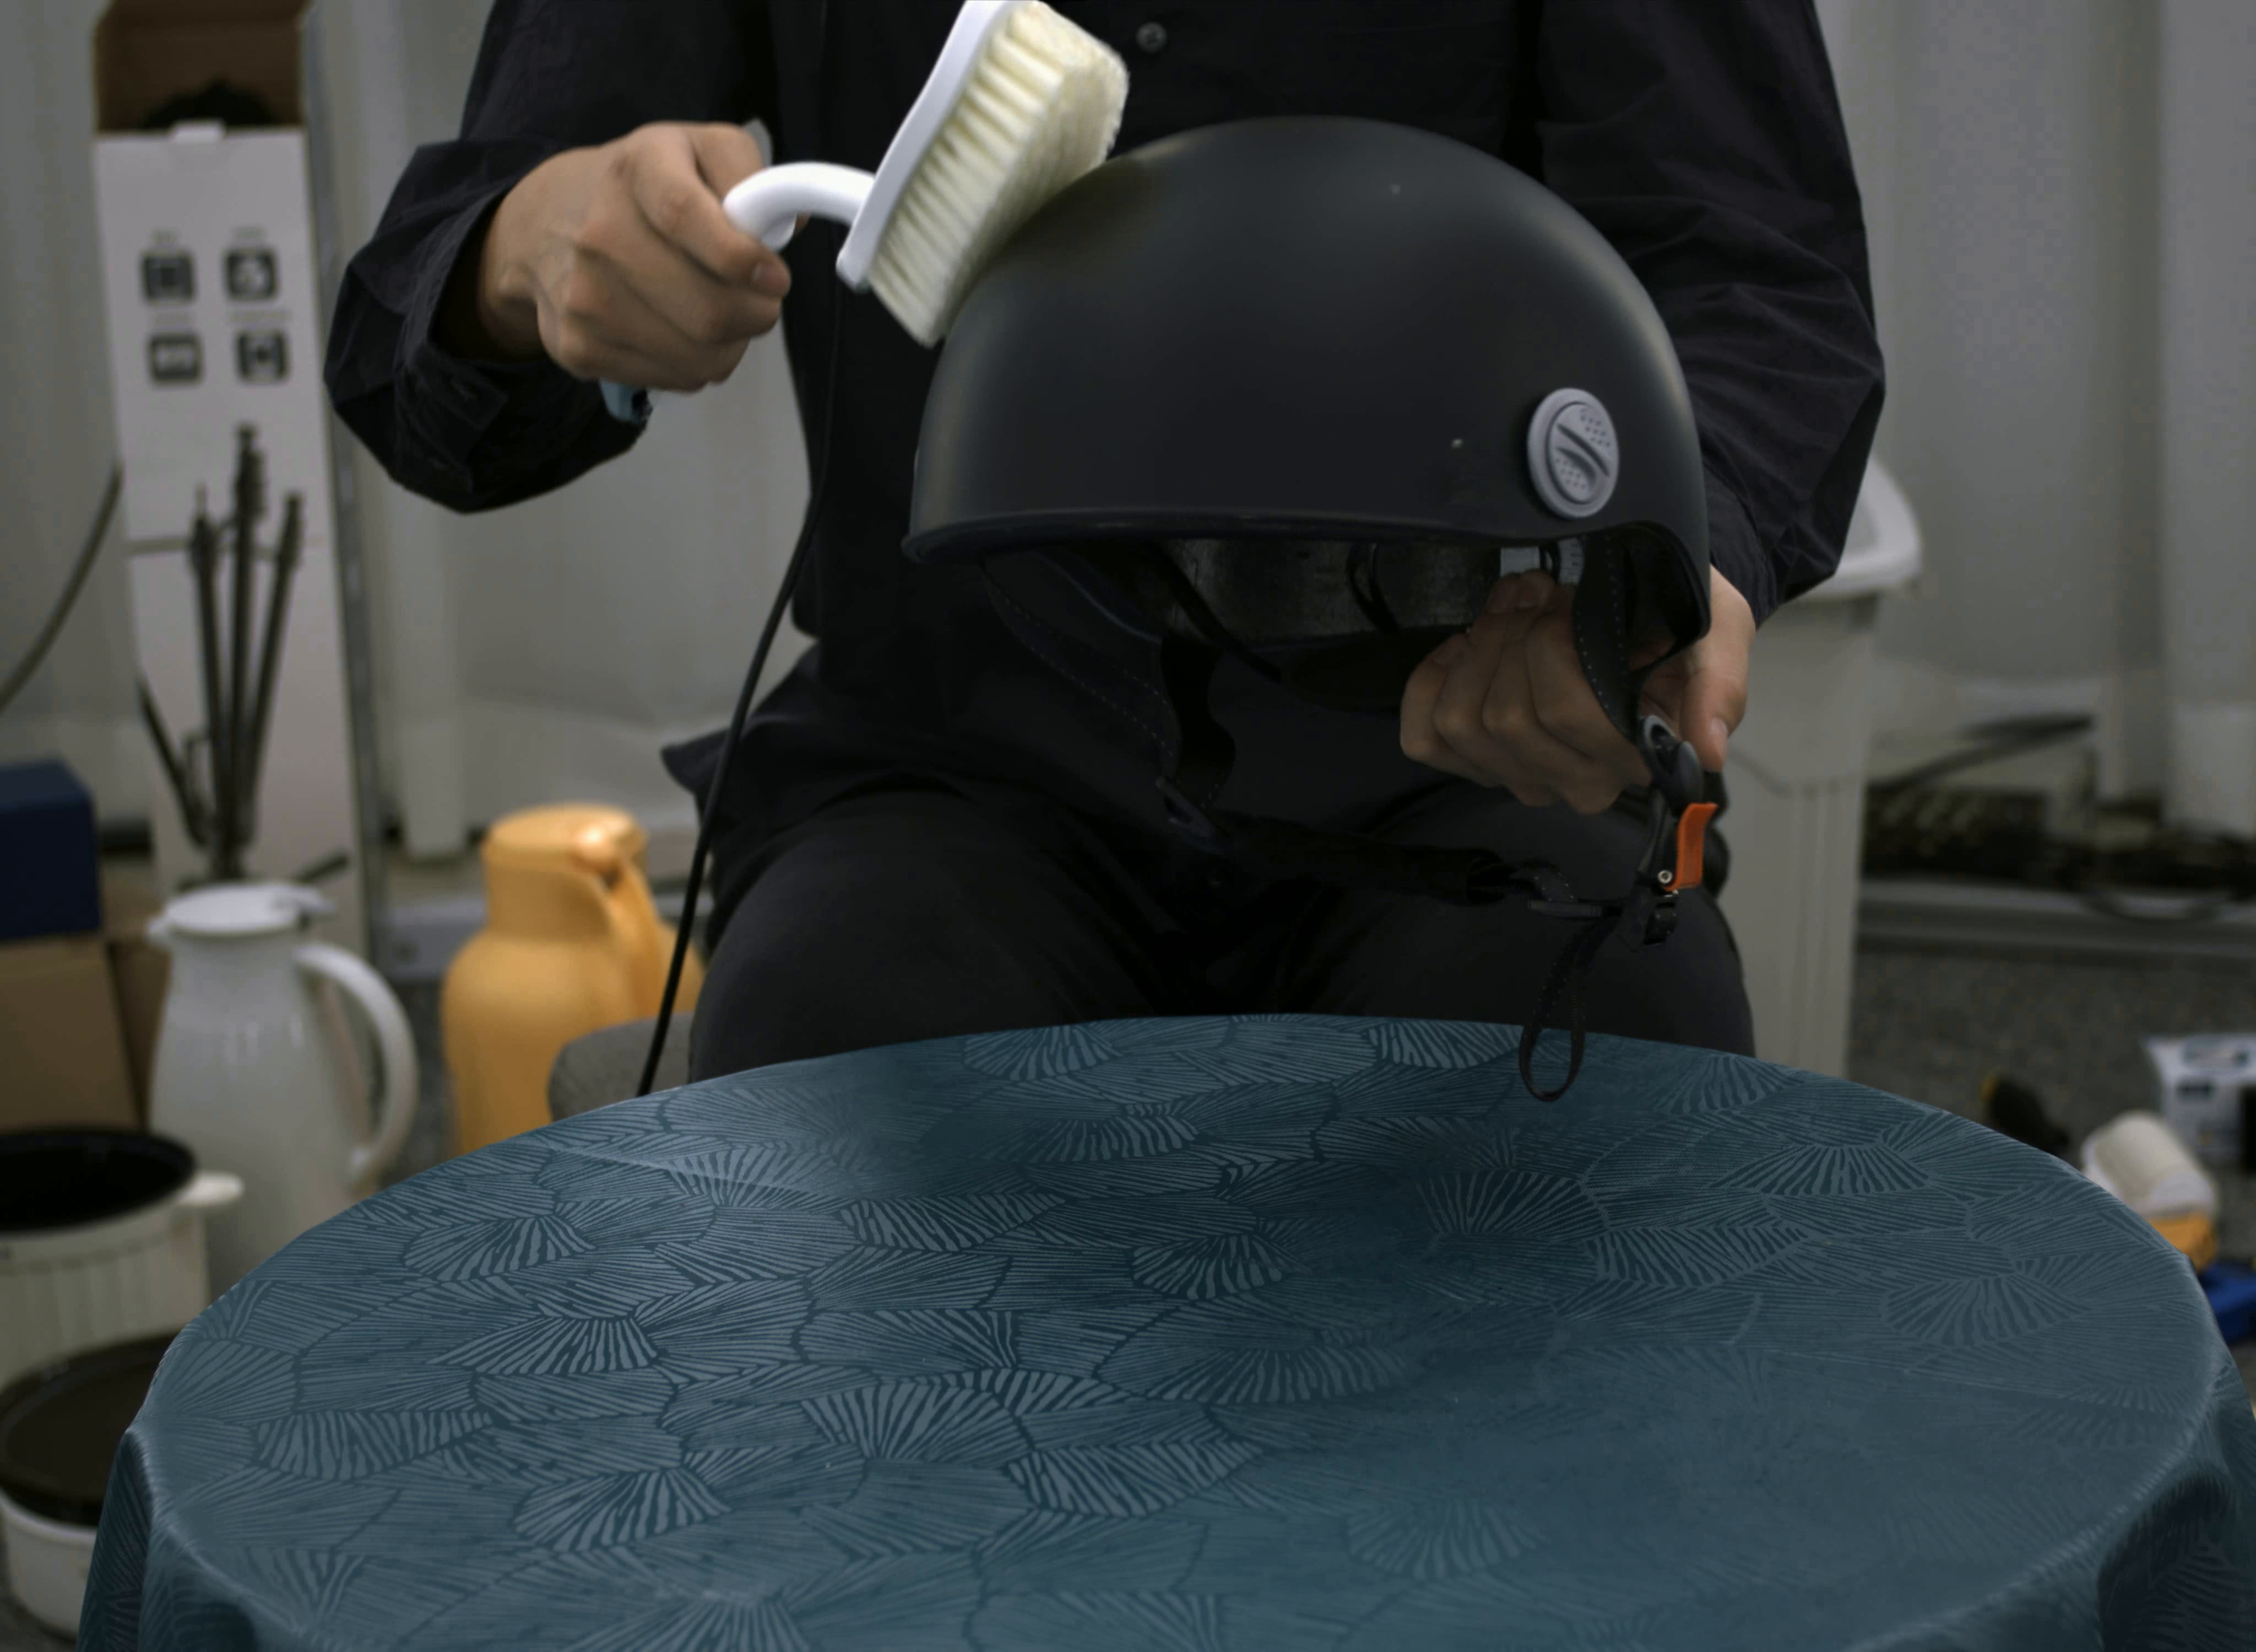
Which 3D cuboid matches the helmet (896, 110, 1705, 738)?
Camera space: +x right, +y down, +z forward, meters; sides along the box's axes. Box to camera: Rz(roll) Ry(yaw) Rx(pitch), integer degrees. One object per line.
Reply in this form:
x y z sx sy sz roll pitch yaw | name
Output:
0.057 -0.133 1.669 0.230 0.168 0.270 -3 -13 33 | helmet

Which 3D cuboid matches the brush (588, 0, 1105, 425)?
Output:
-0.085 -0.170 1.745 0.082 0.085 0.324 5 -20 -25 | brush
